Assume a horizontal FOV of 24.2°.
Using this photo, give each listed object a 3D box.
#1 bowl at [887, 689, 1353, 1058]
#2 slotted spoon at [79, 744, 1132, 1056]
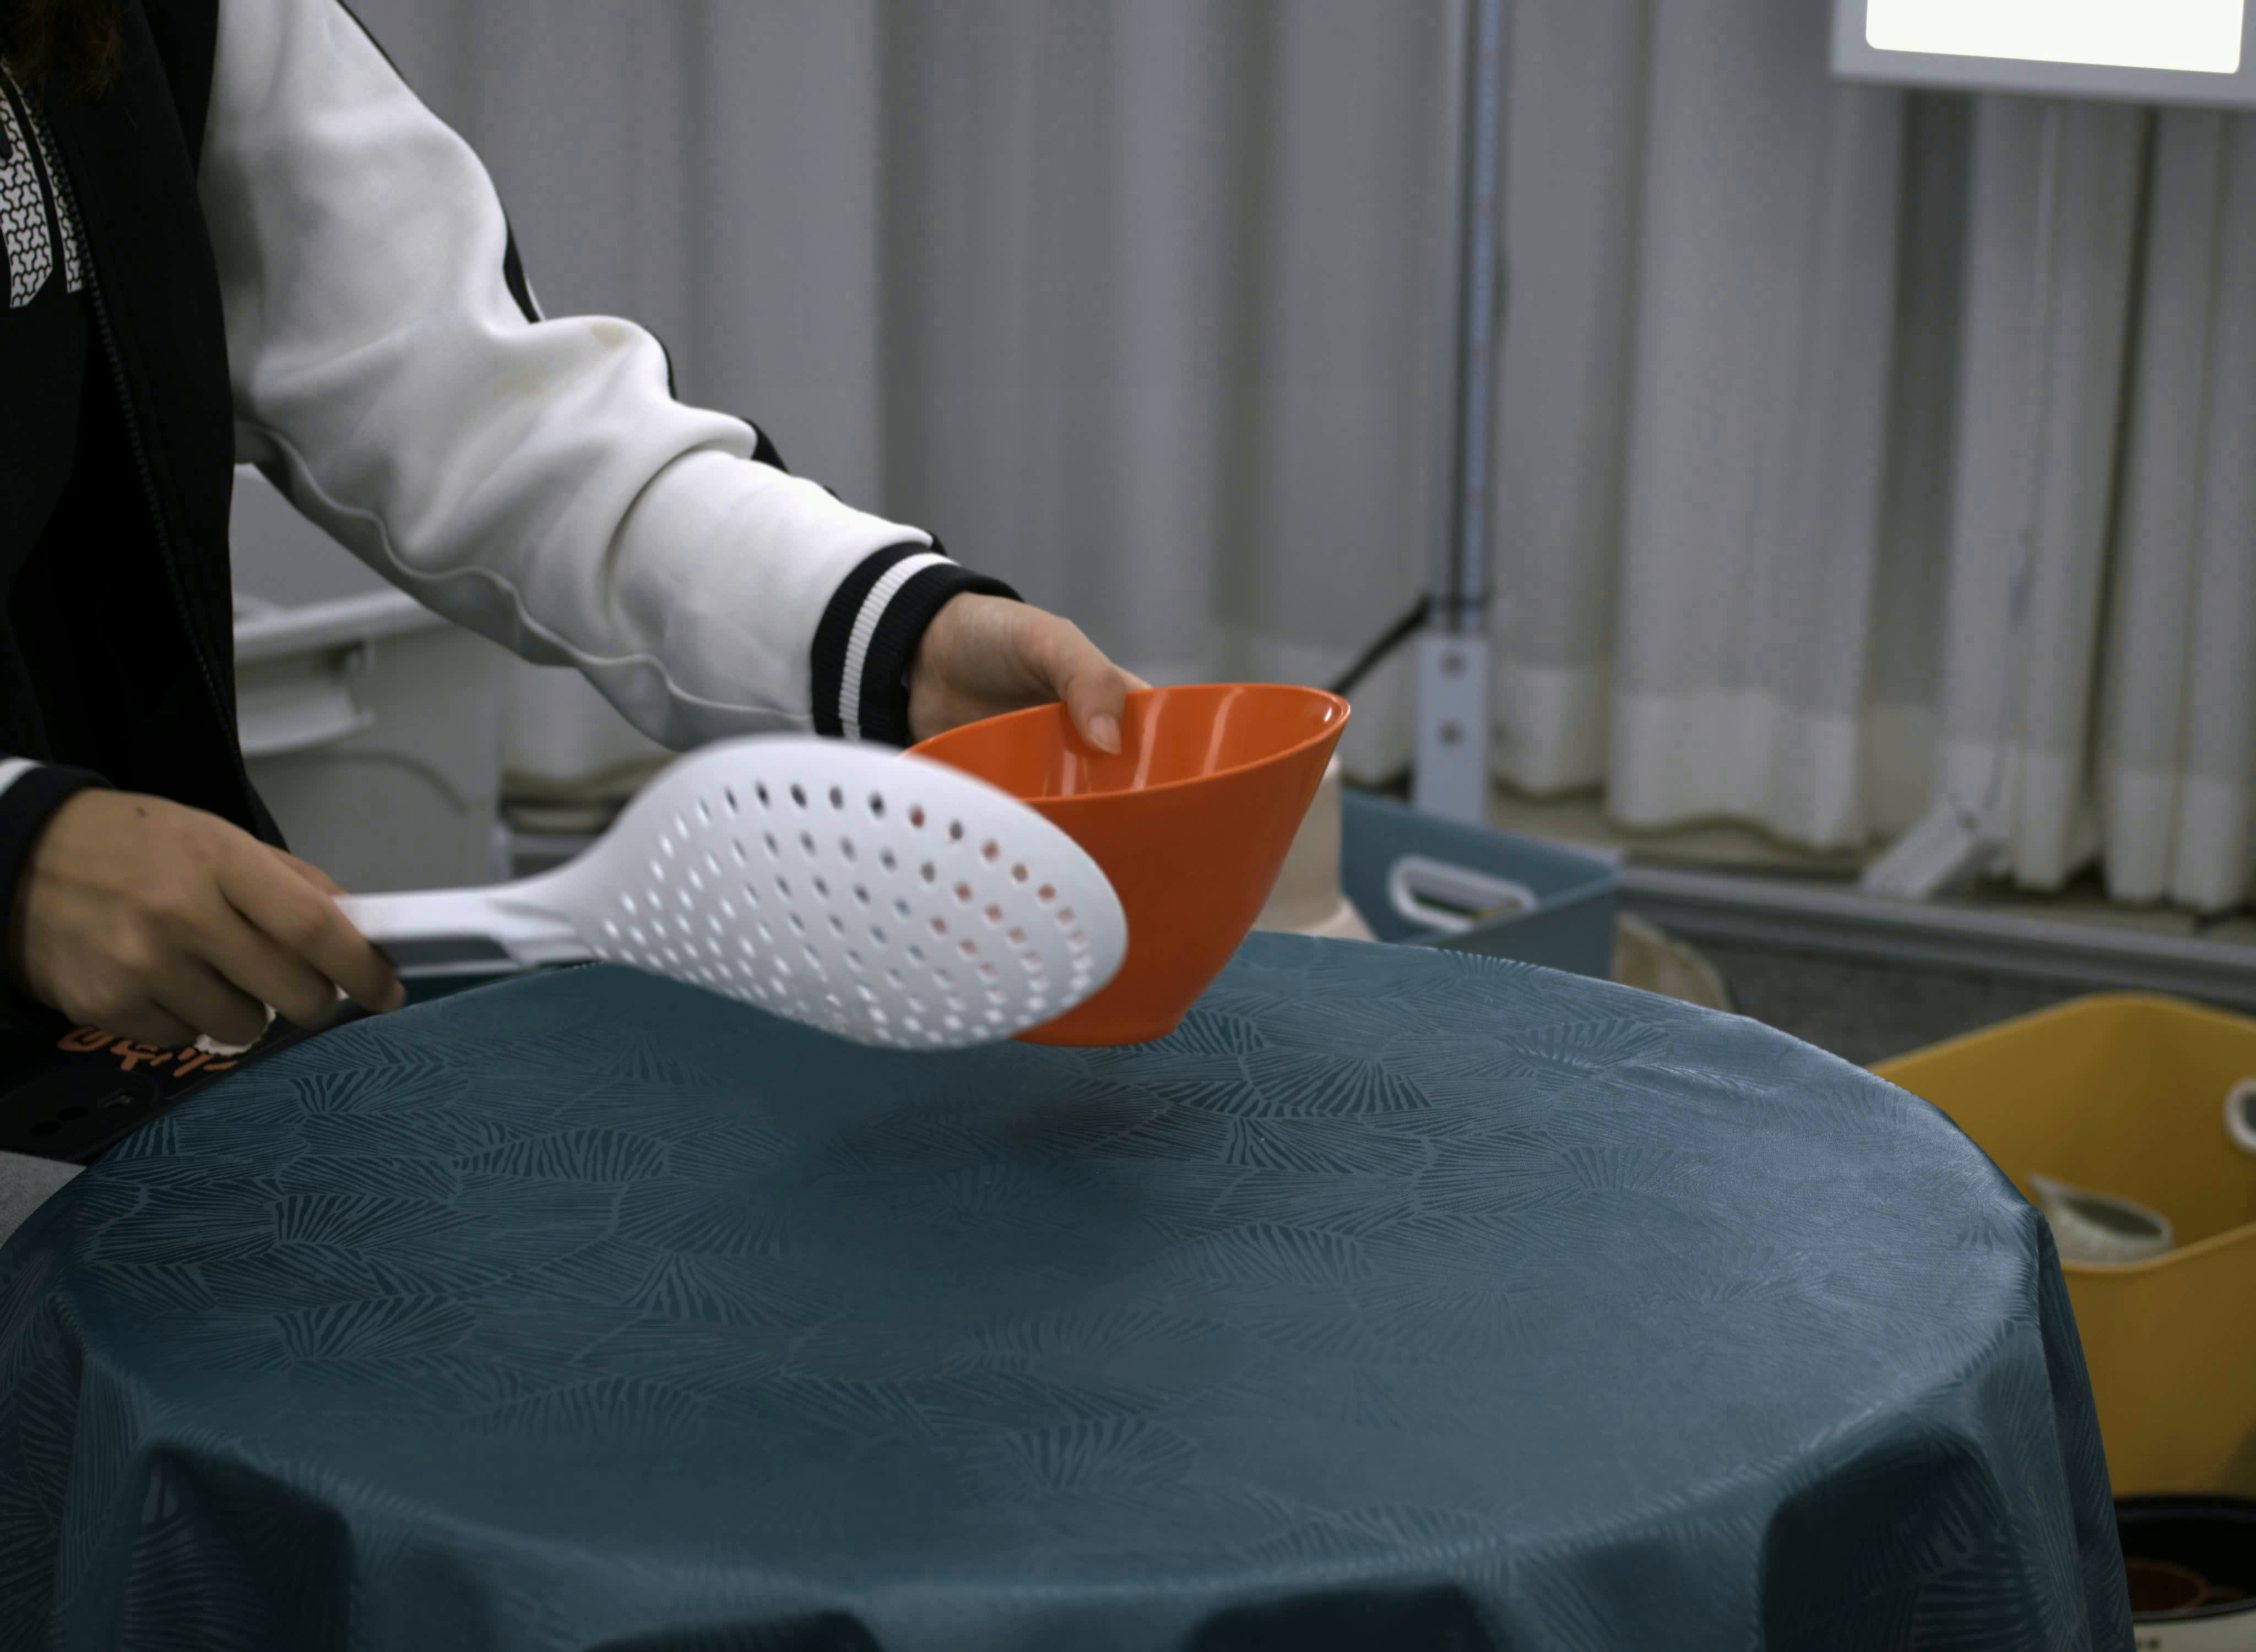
[{"bbox_3d":[-0.004,0.015,1.664,0.147,0.105,0.147,2,14,0],"label":"bowl"},{"bbox_3d":[-0.158,0.030,1.475,0.346,0.138,0.045,0,57,33],"label":"slotted spoon"}]
